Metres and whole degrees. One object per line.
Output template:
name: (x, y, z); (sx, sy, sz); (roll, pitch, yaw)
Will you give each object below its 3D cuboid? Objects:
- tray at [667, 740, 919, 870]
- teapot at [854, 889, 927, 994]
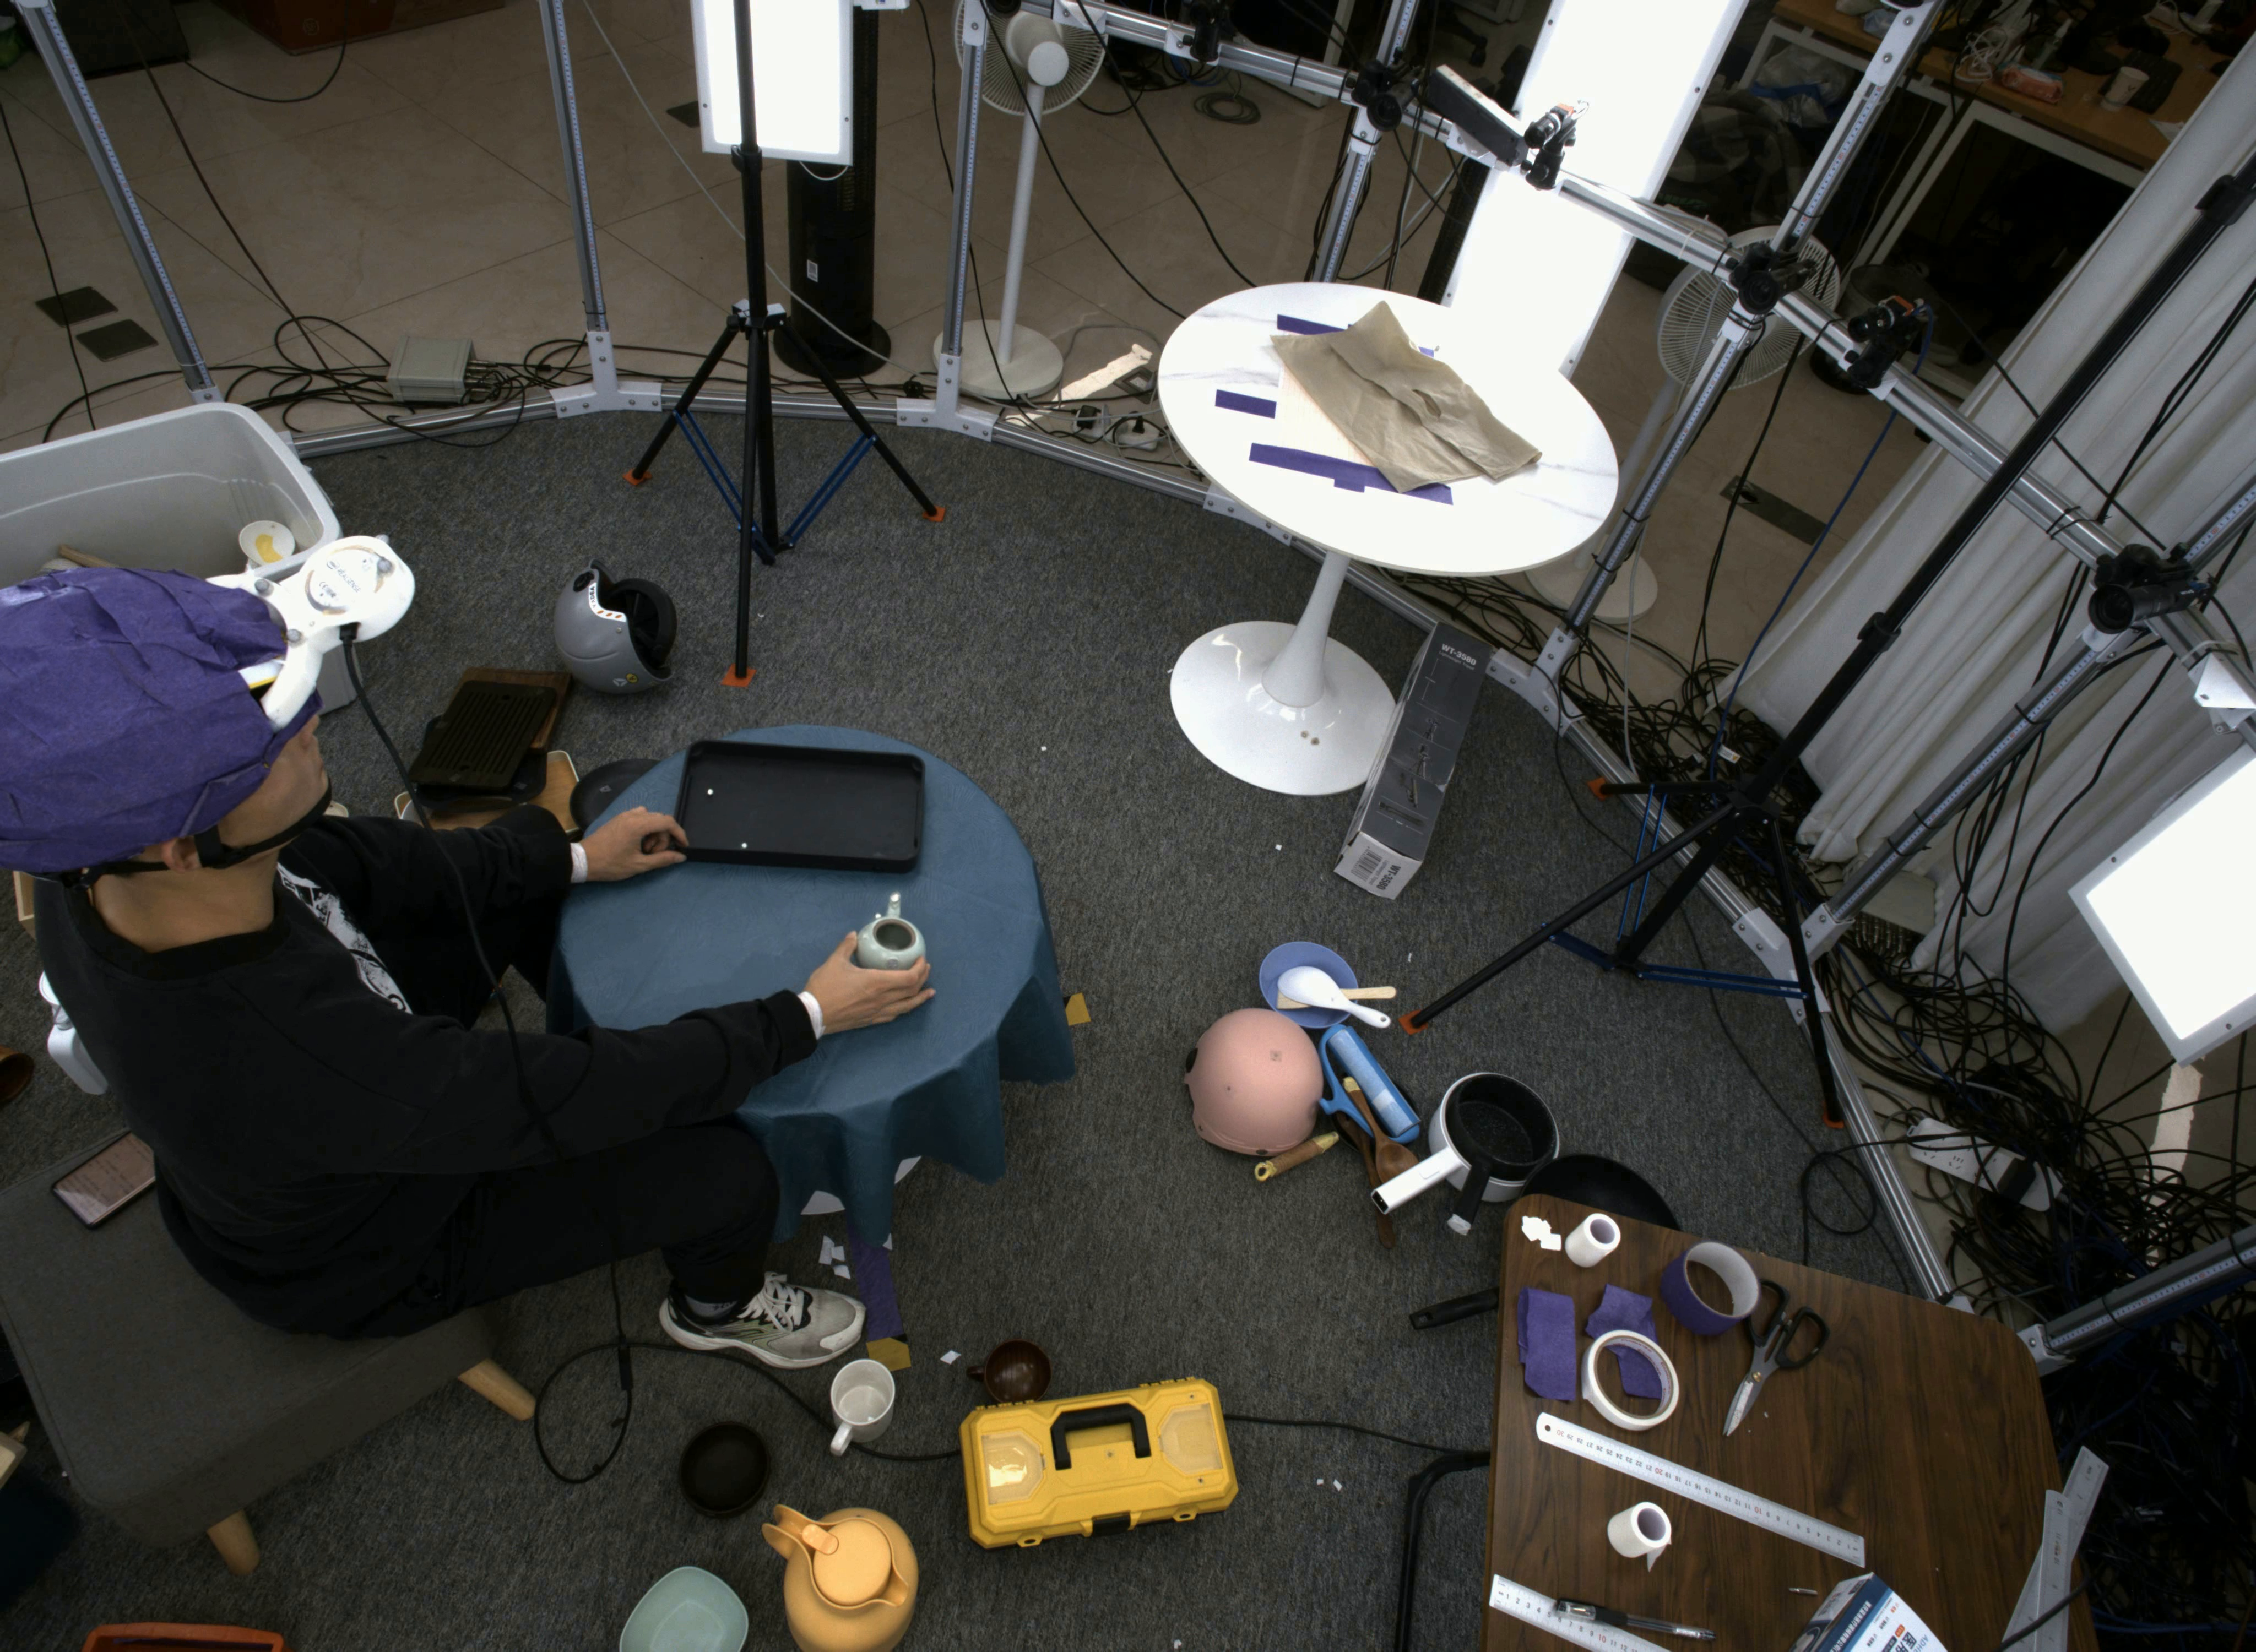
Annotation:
tray: (-0.438, -0.028, 1.716); (0.318, 0.038, 0.180); (2, 54, -13)
teapot: (-0.291, 0.149, 1.593); (0.089, 0.076, 0.140); (9, 43, -15)
